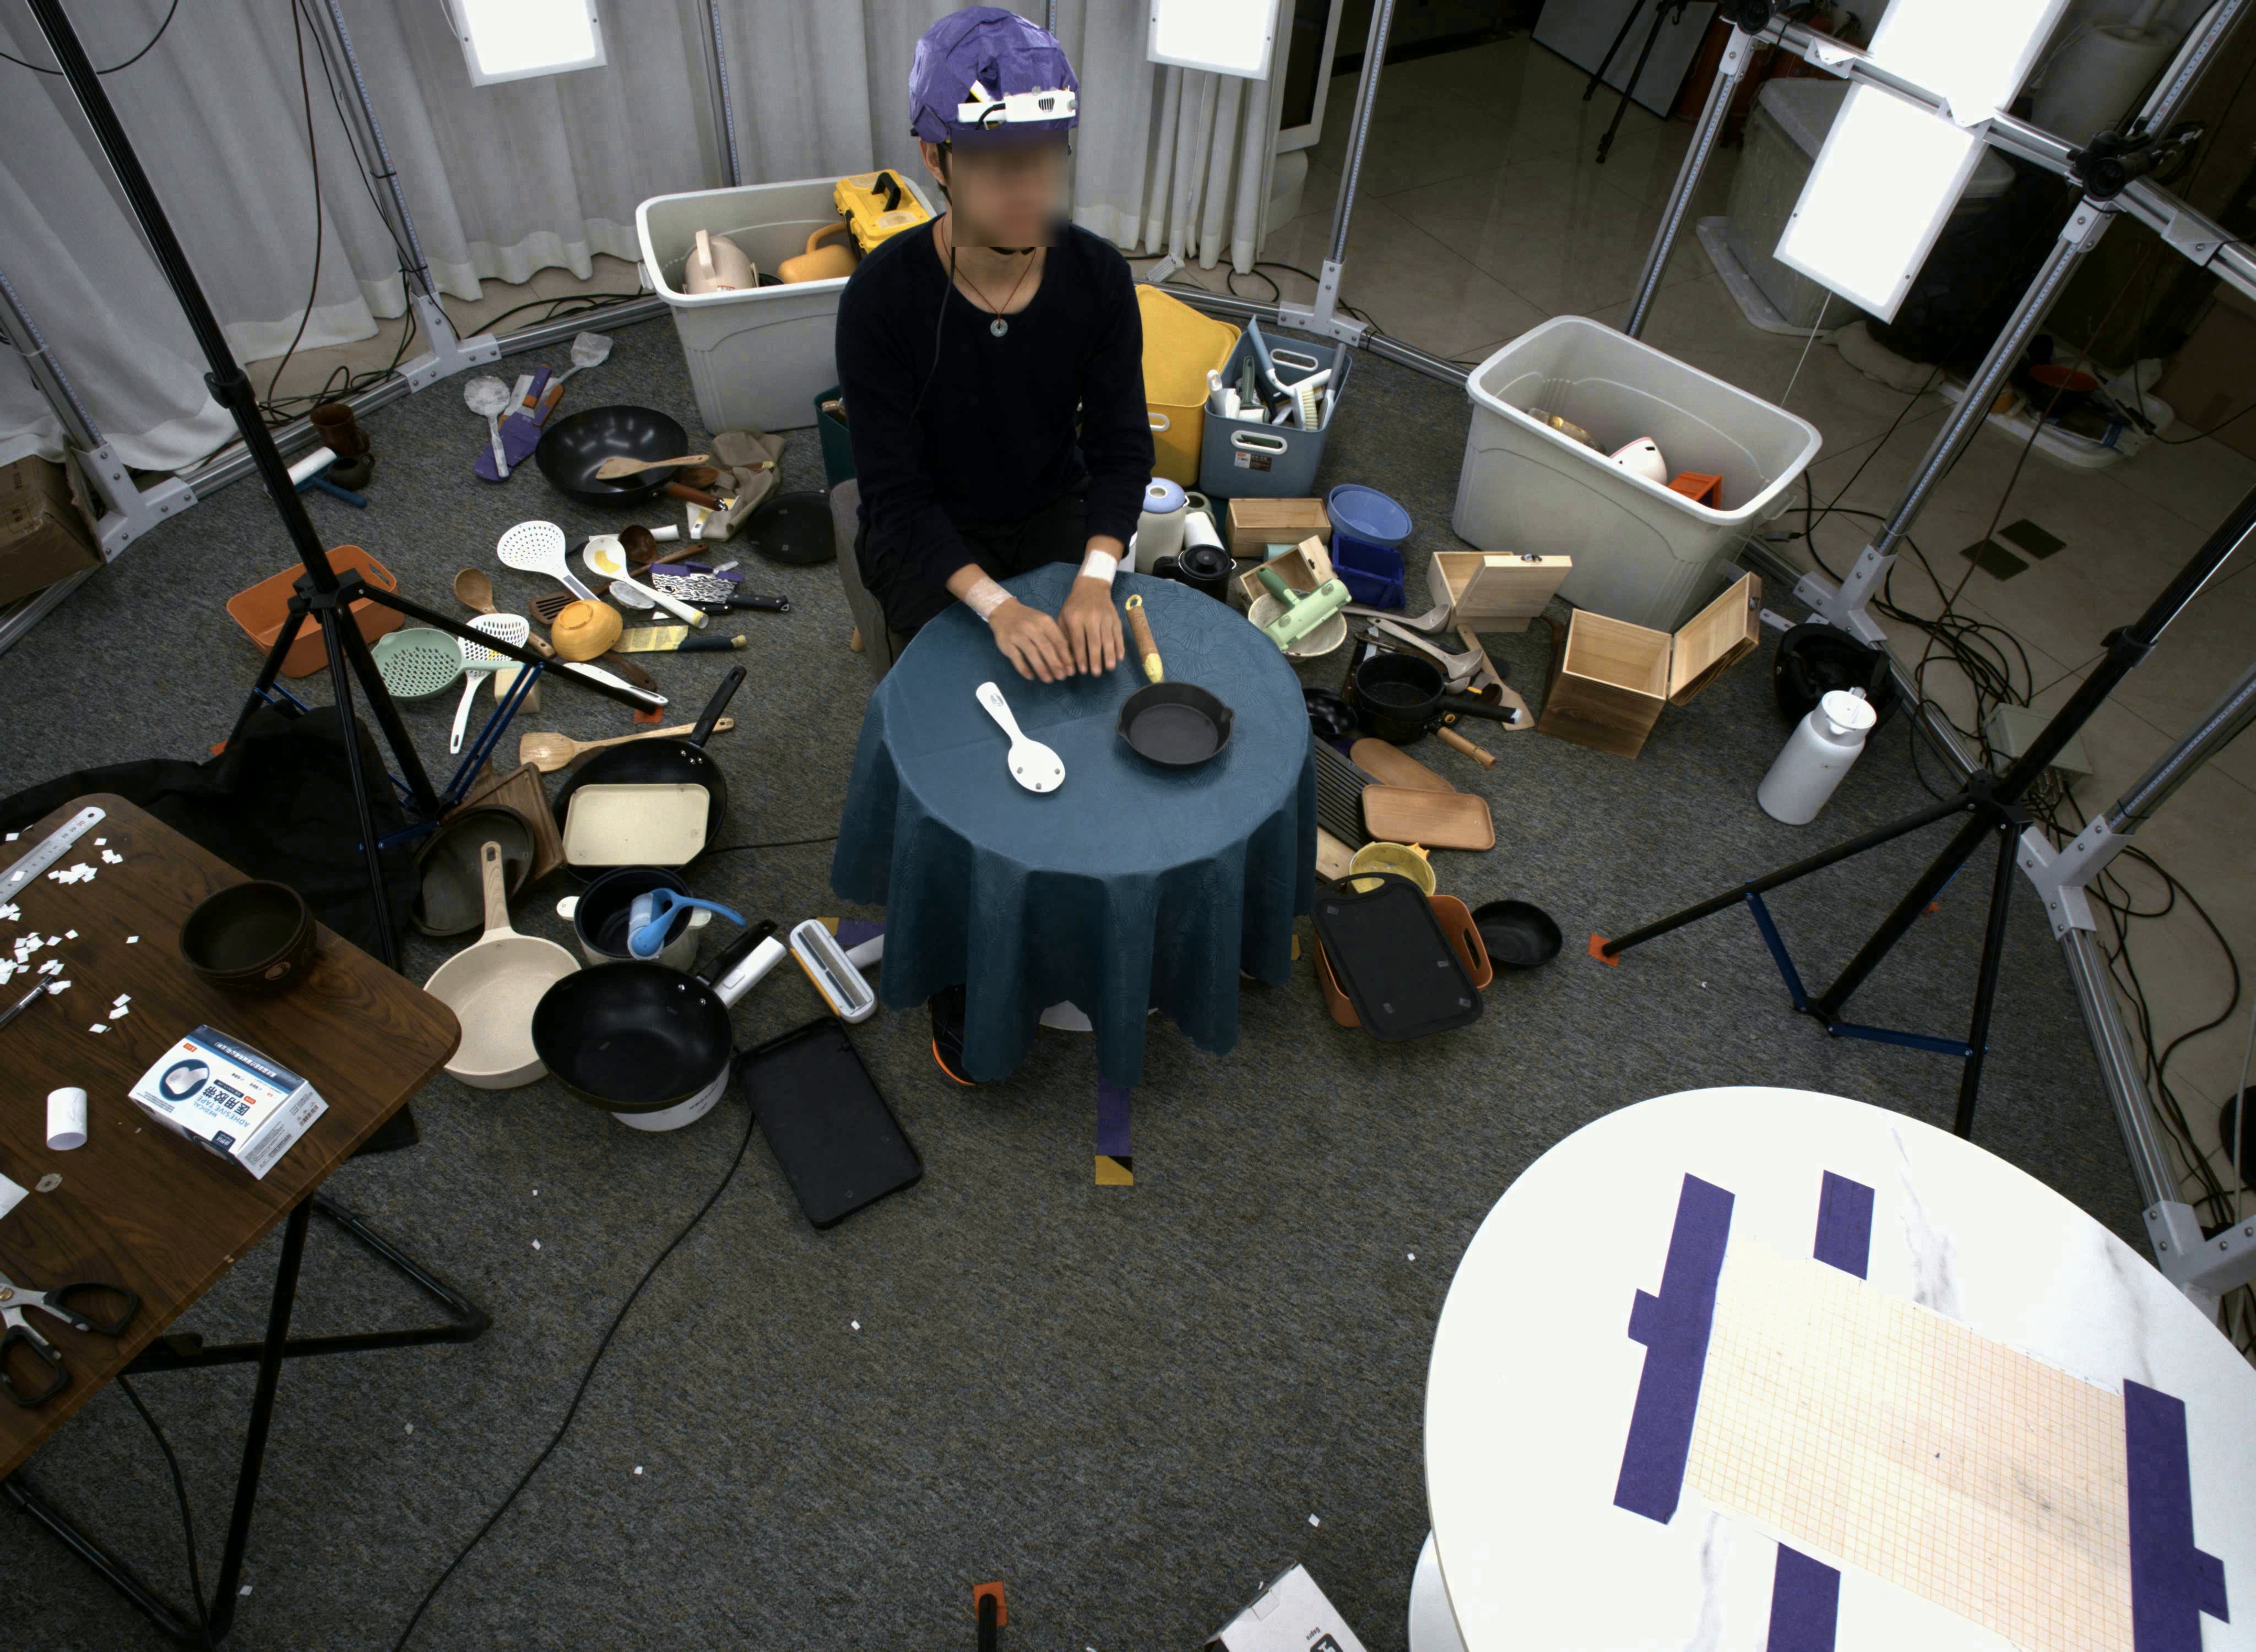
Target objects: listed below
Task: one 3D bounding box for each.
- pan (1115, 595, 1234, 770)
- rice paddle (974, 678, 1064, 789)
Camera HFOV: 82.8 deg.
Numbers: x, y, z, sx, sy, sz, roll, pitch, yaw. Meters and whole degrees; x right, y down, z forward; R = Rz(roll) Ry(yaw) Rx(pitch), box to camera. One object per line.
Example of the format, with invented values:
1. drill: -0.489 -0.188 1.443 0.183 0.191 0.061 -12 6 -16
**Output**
1. pan: 0.045 -0.205 1.817 0.169 0.048 0.332 -8 51 -10
2. rice paddle: -0.152 -0.126 1.753 0.069 0.029 0.209 -22 55 -19
